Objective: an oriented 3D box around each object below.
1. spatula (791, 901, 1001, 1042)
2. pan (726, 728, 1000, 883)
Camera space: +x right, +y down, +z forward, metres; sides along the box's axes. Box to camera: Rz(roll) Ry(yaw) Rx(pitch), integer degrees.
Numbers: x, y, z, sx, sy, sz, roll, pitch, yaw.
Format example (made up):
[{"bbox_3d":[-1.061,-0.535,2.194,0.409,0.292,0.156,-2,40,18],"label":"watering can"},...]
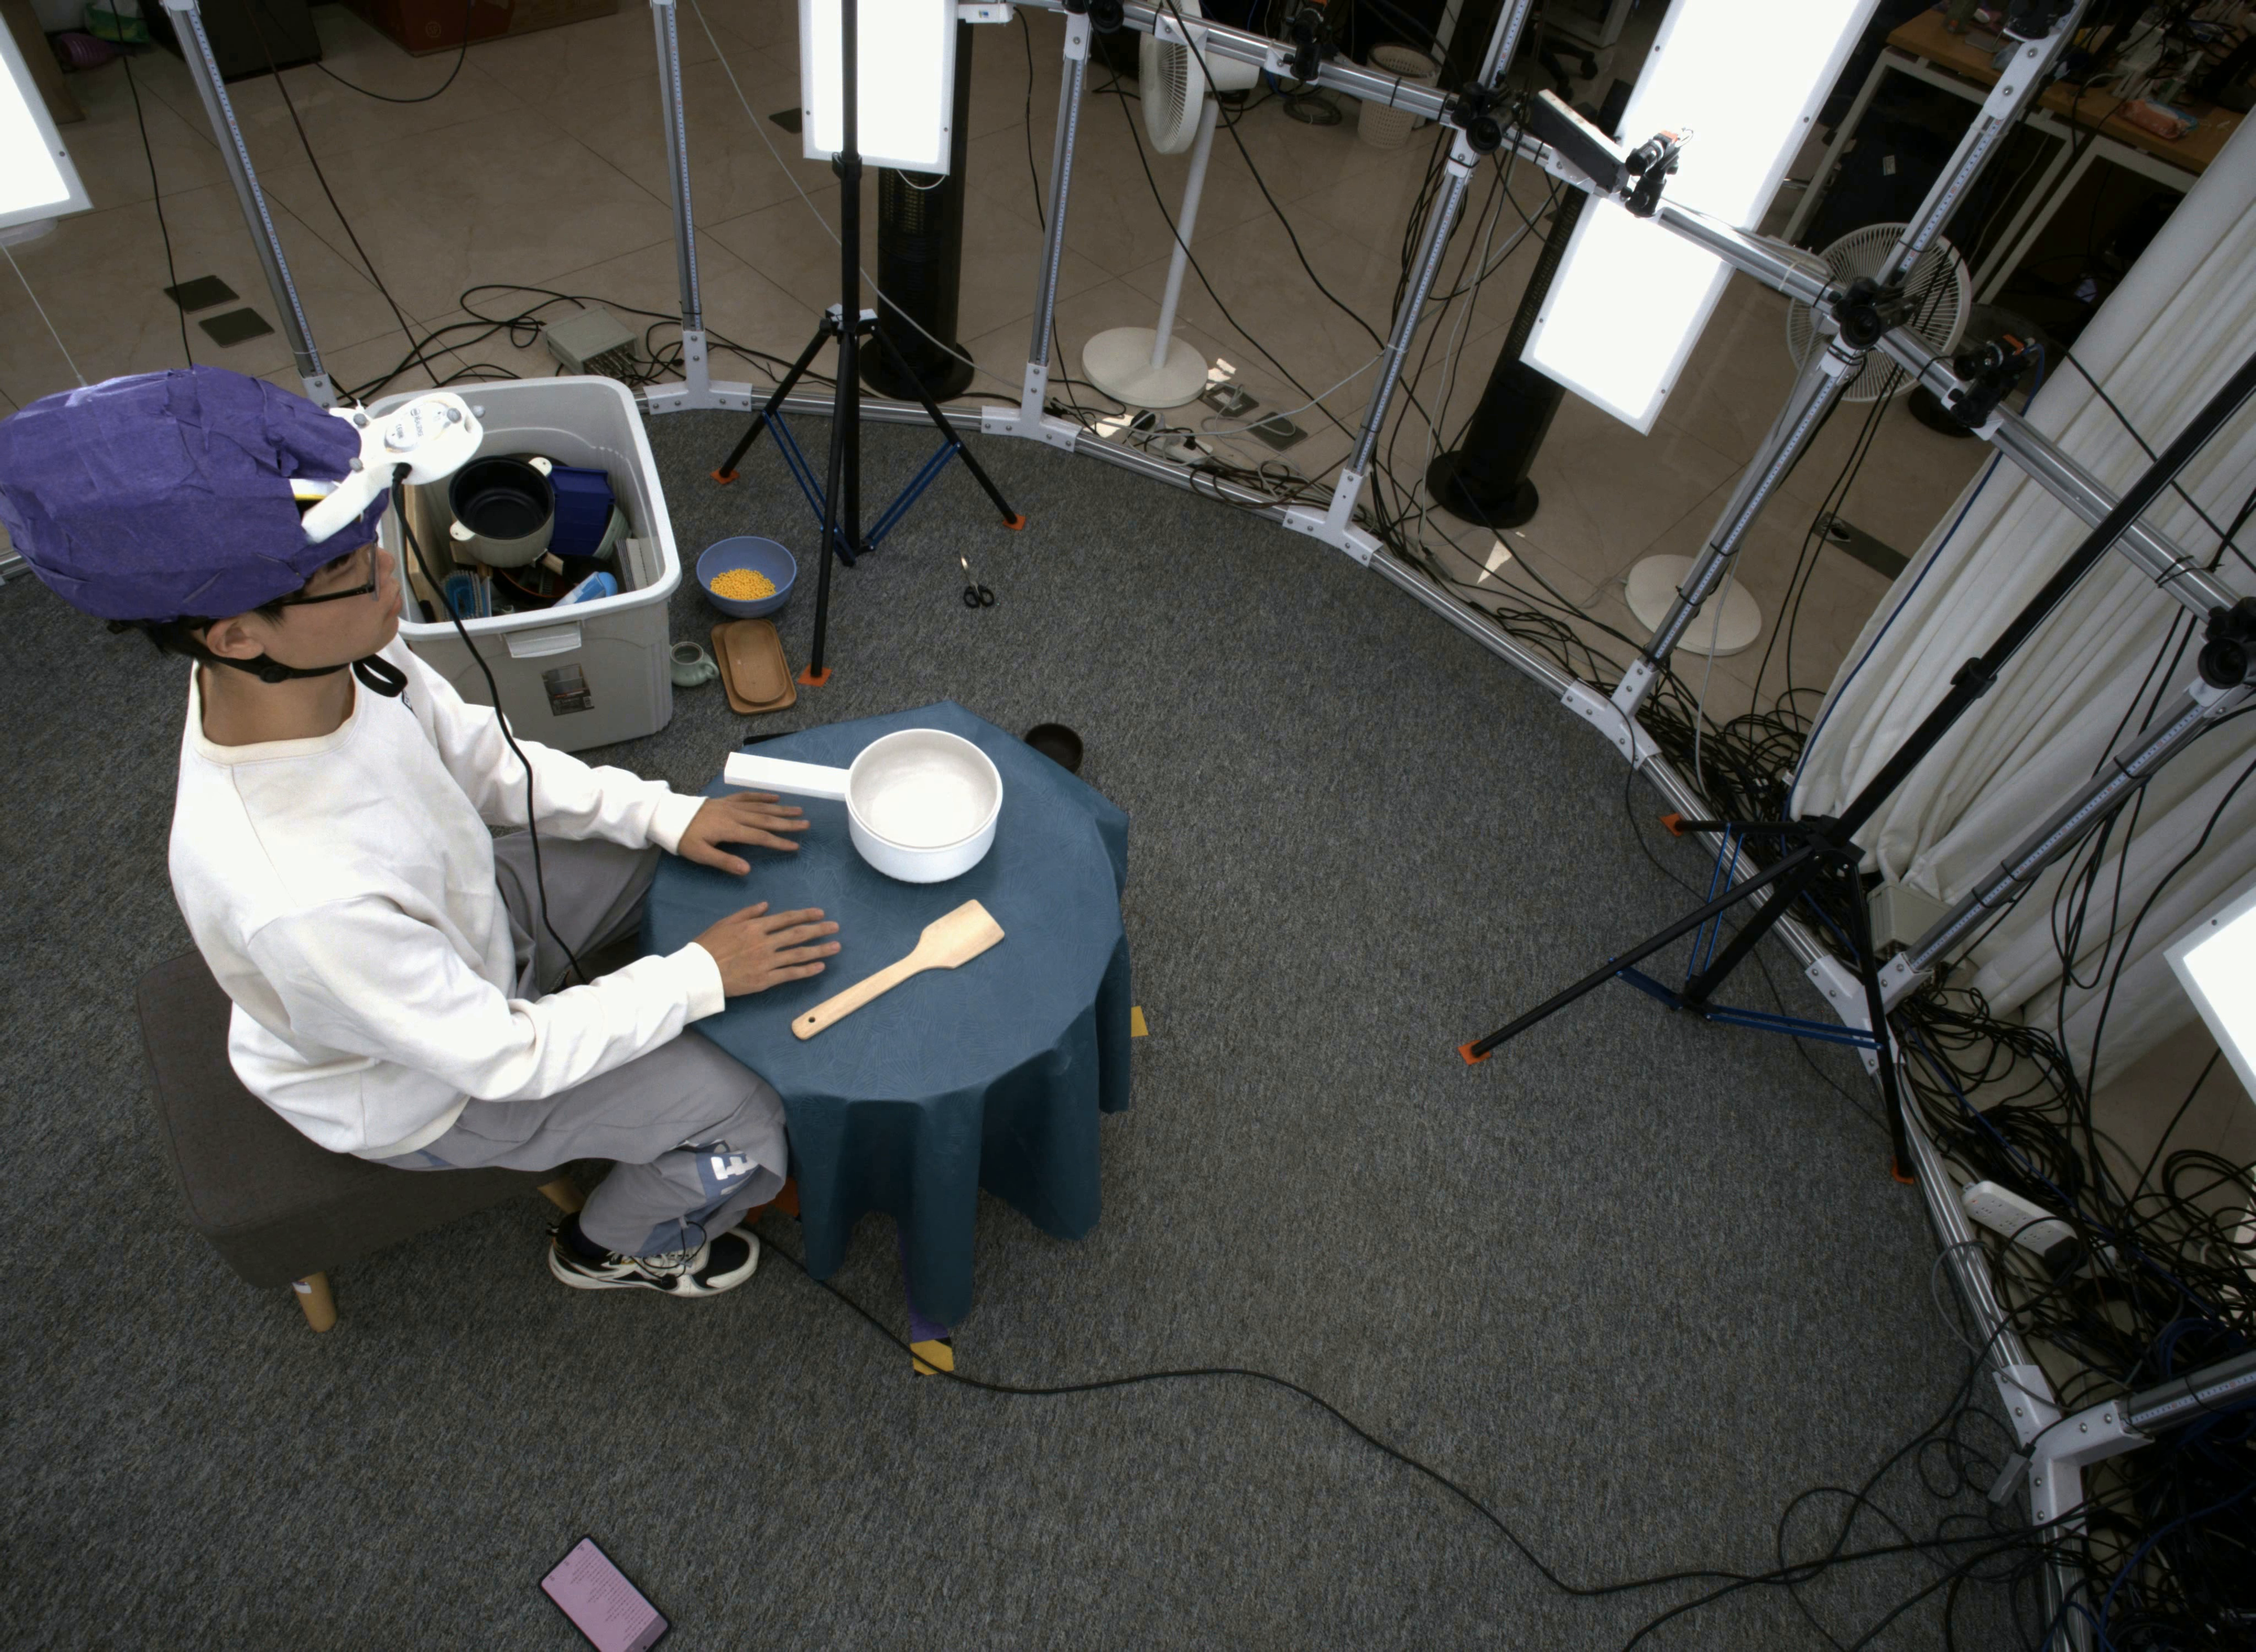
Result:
[{"bbox_3d":[-0.290,0.184,1.624,0.294,0.011,0.070,-31,67,-31],"label":"spatula"},{"bbox_3d":[-0.347,-0.032,1.714,0.353,0.104,0.198,8,53,-6],"label":"pan"}]
